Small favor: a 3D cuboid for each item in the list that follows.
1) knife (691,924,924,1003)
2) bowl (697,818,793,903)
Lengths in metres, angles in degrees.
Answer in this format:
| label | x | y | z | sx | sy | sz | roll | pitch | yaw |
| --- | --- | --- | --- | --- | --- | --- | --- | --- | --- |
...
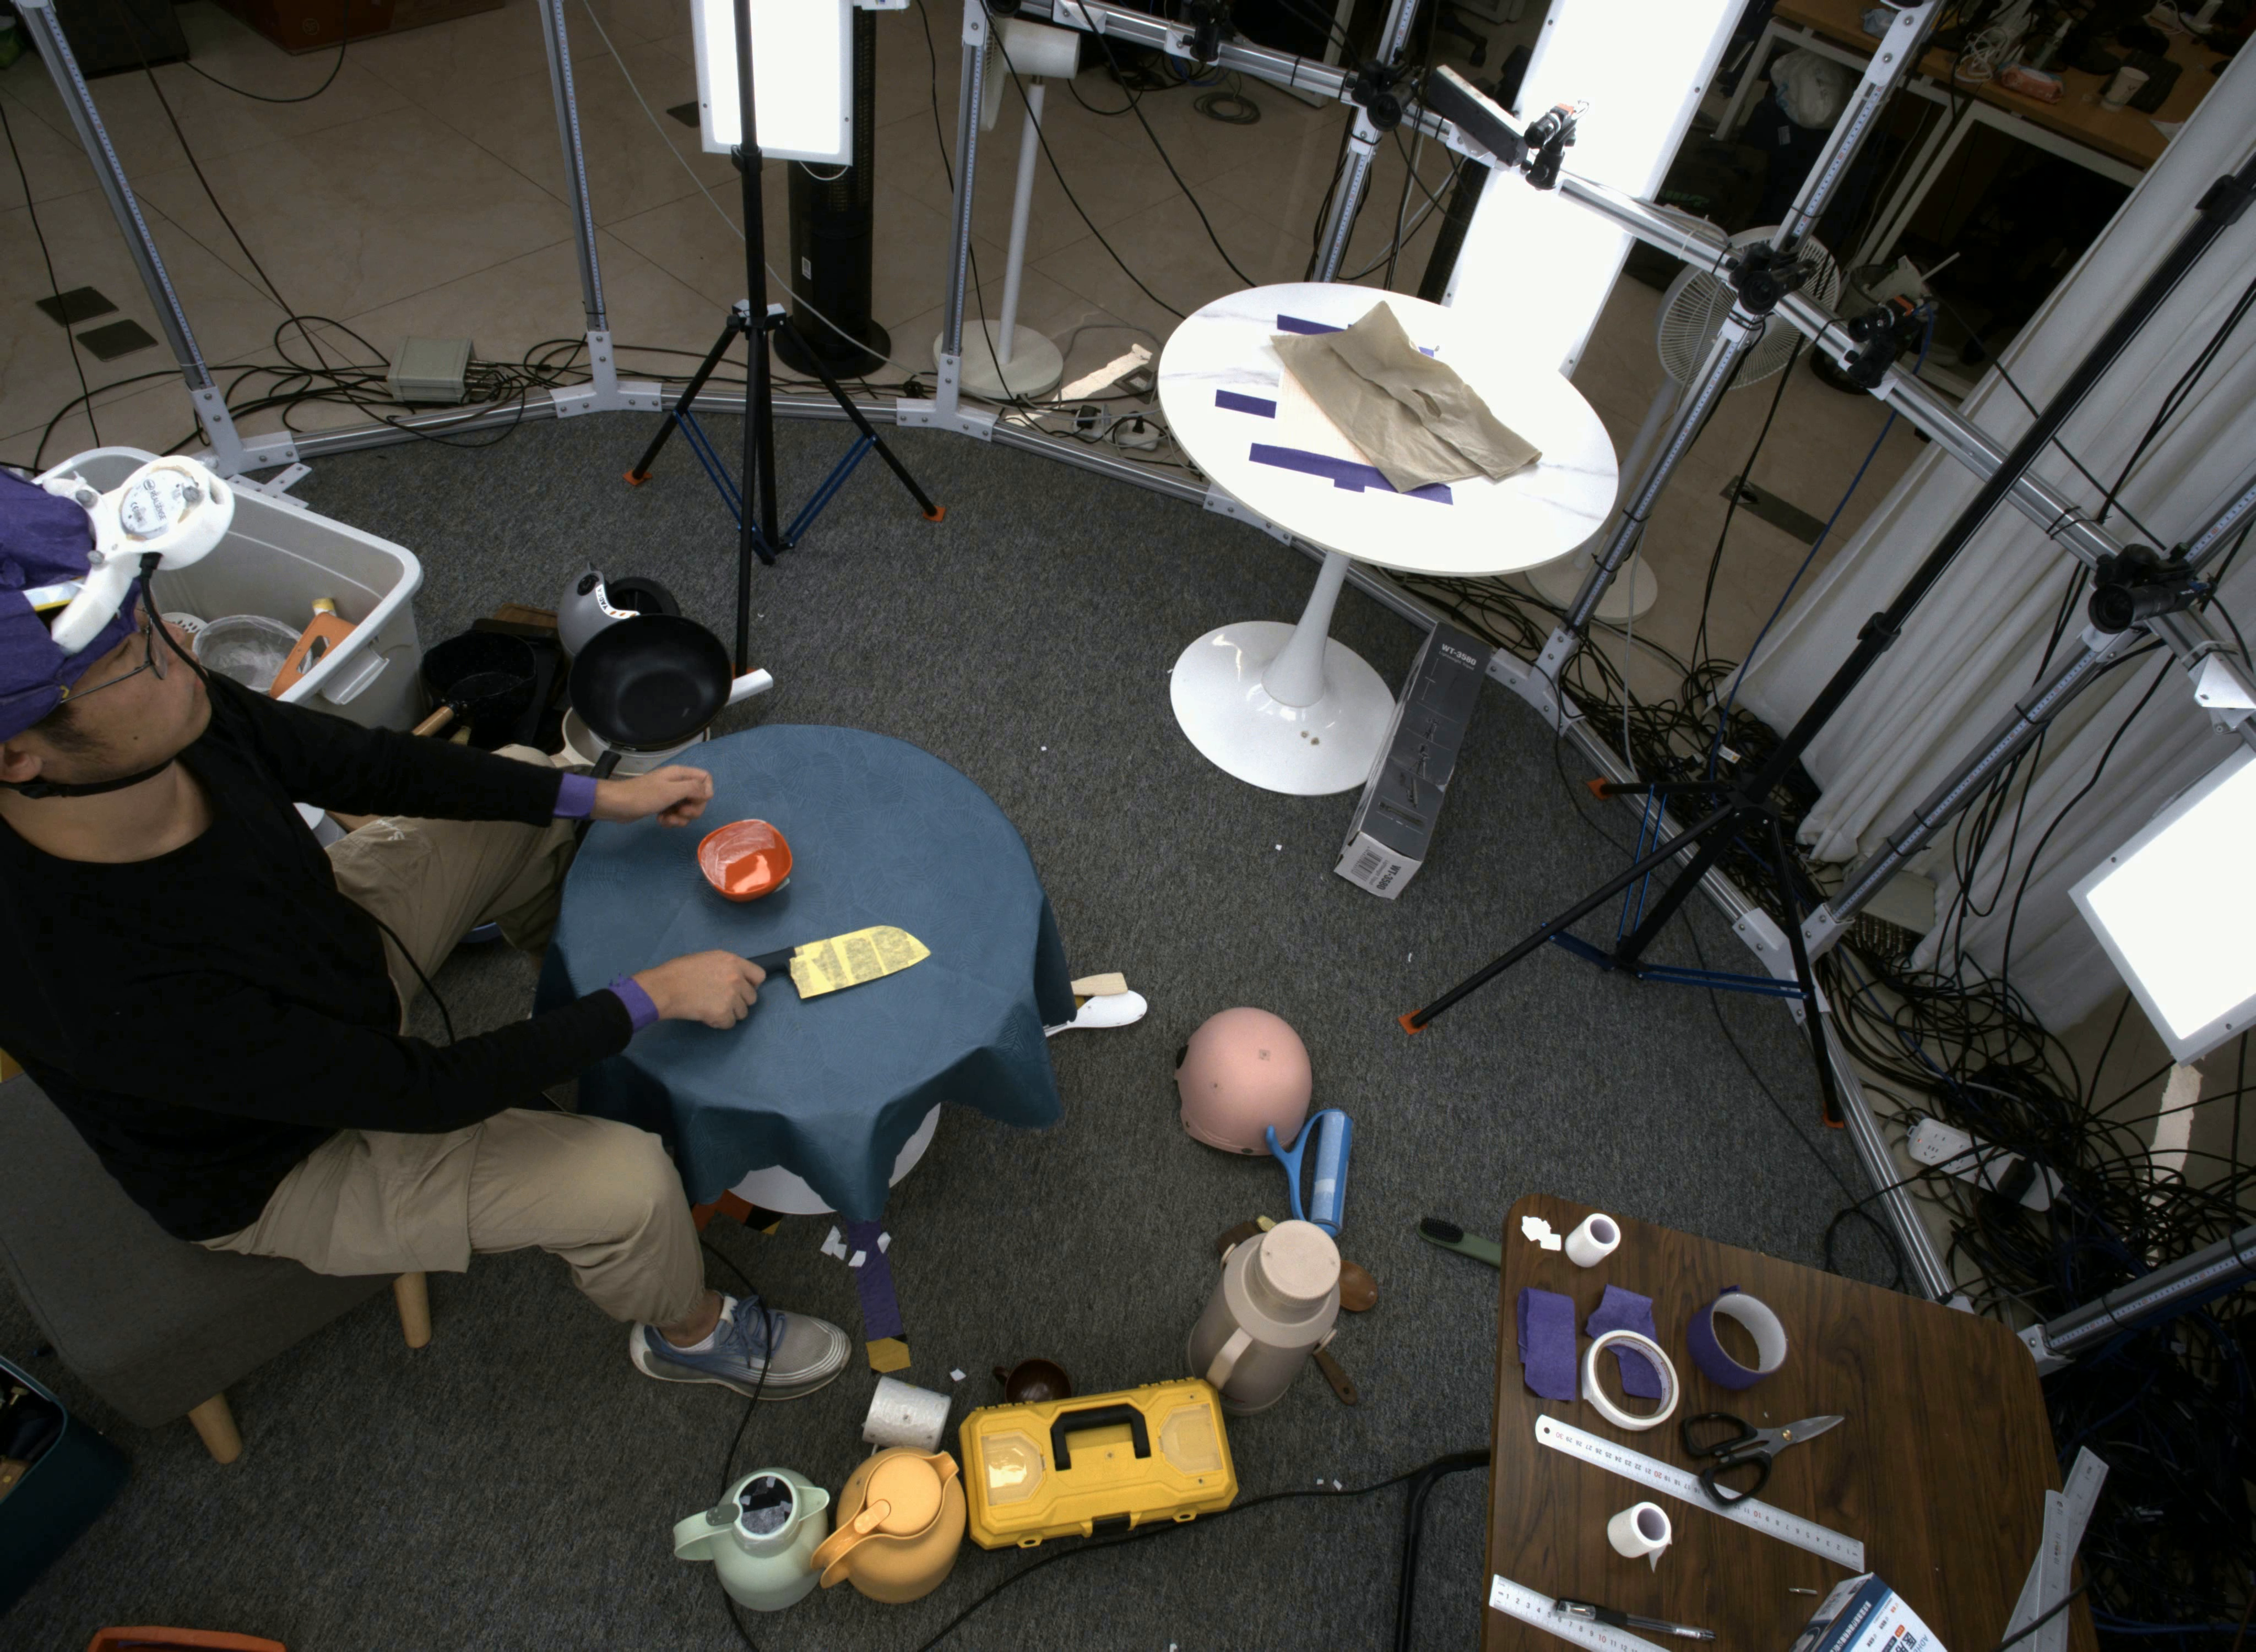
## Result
| label | x | y | z | sx | sy | sz | roll | pitch | yaw |
| --- | --- | --- | --- | --- | --- | --- | --- | --- | --- |
| knife | -0.388 | 0.174 | 1.592 | 0.291 | 0.028 | 0.079 | -13 | 57 | -24 |
| bowl | -0.483 | 0.050 | 1.634 | 0.119 | 0.052 | 0.117 | 9 | 53 | -10 |
